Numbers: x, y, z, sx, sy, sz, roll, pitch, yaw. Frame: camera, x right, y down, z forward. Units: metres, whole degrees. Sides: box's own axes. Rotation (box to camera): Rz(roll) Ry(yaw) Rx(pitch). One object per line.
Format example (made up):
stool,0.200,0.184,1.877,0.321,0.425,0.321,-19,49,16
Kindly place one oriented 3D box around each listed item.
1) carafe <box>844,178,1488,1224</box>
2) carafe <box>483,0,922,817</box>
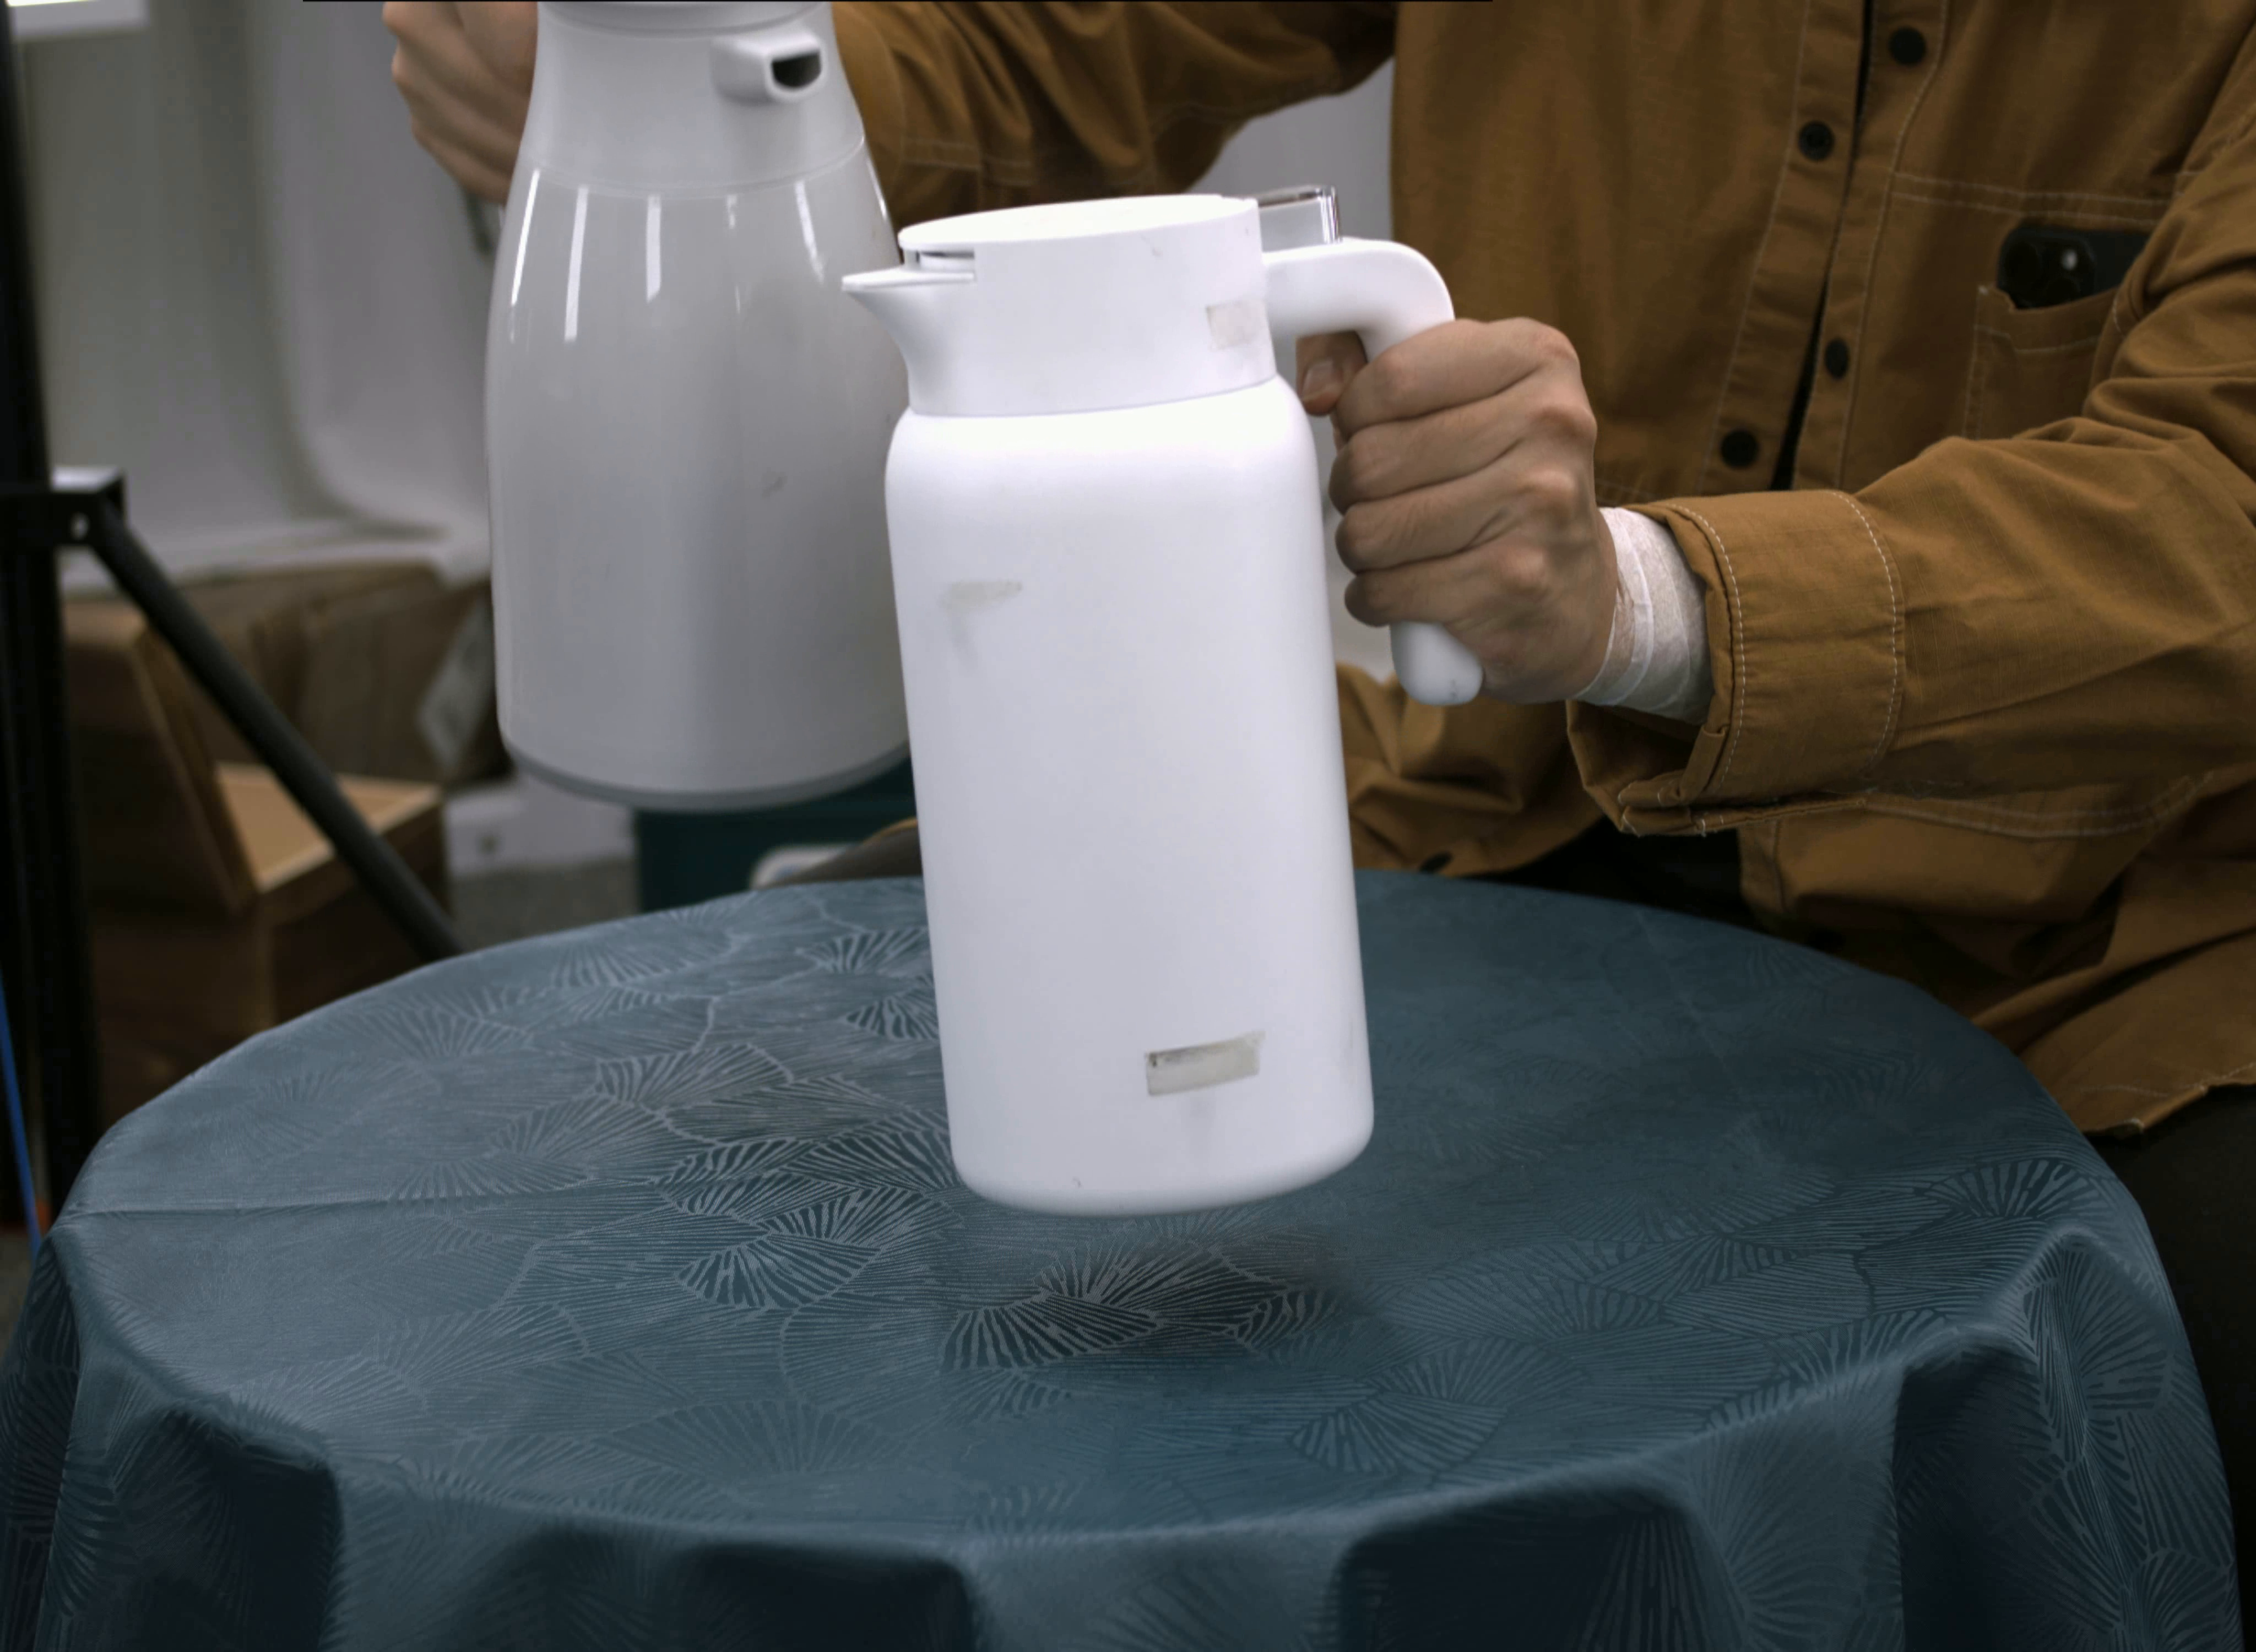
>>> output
carafe,0.015,-0.037,1.439,0.169,0.269,0.126,-9,9,-21
carafe,-0.137,-0.148,1.578,0.130,0.248,0.171,-15,27,-30
